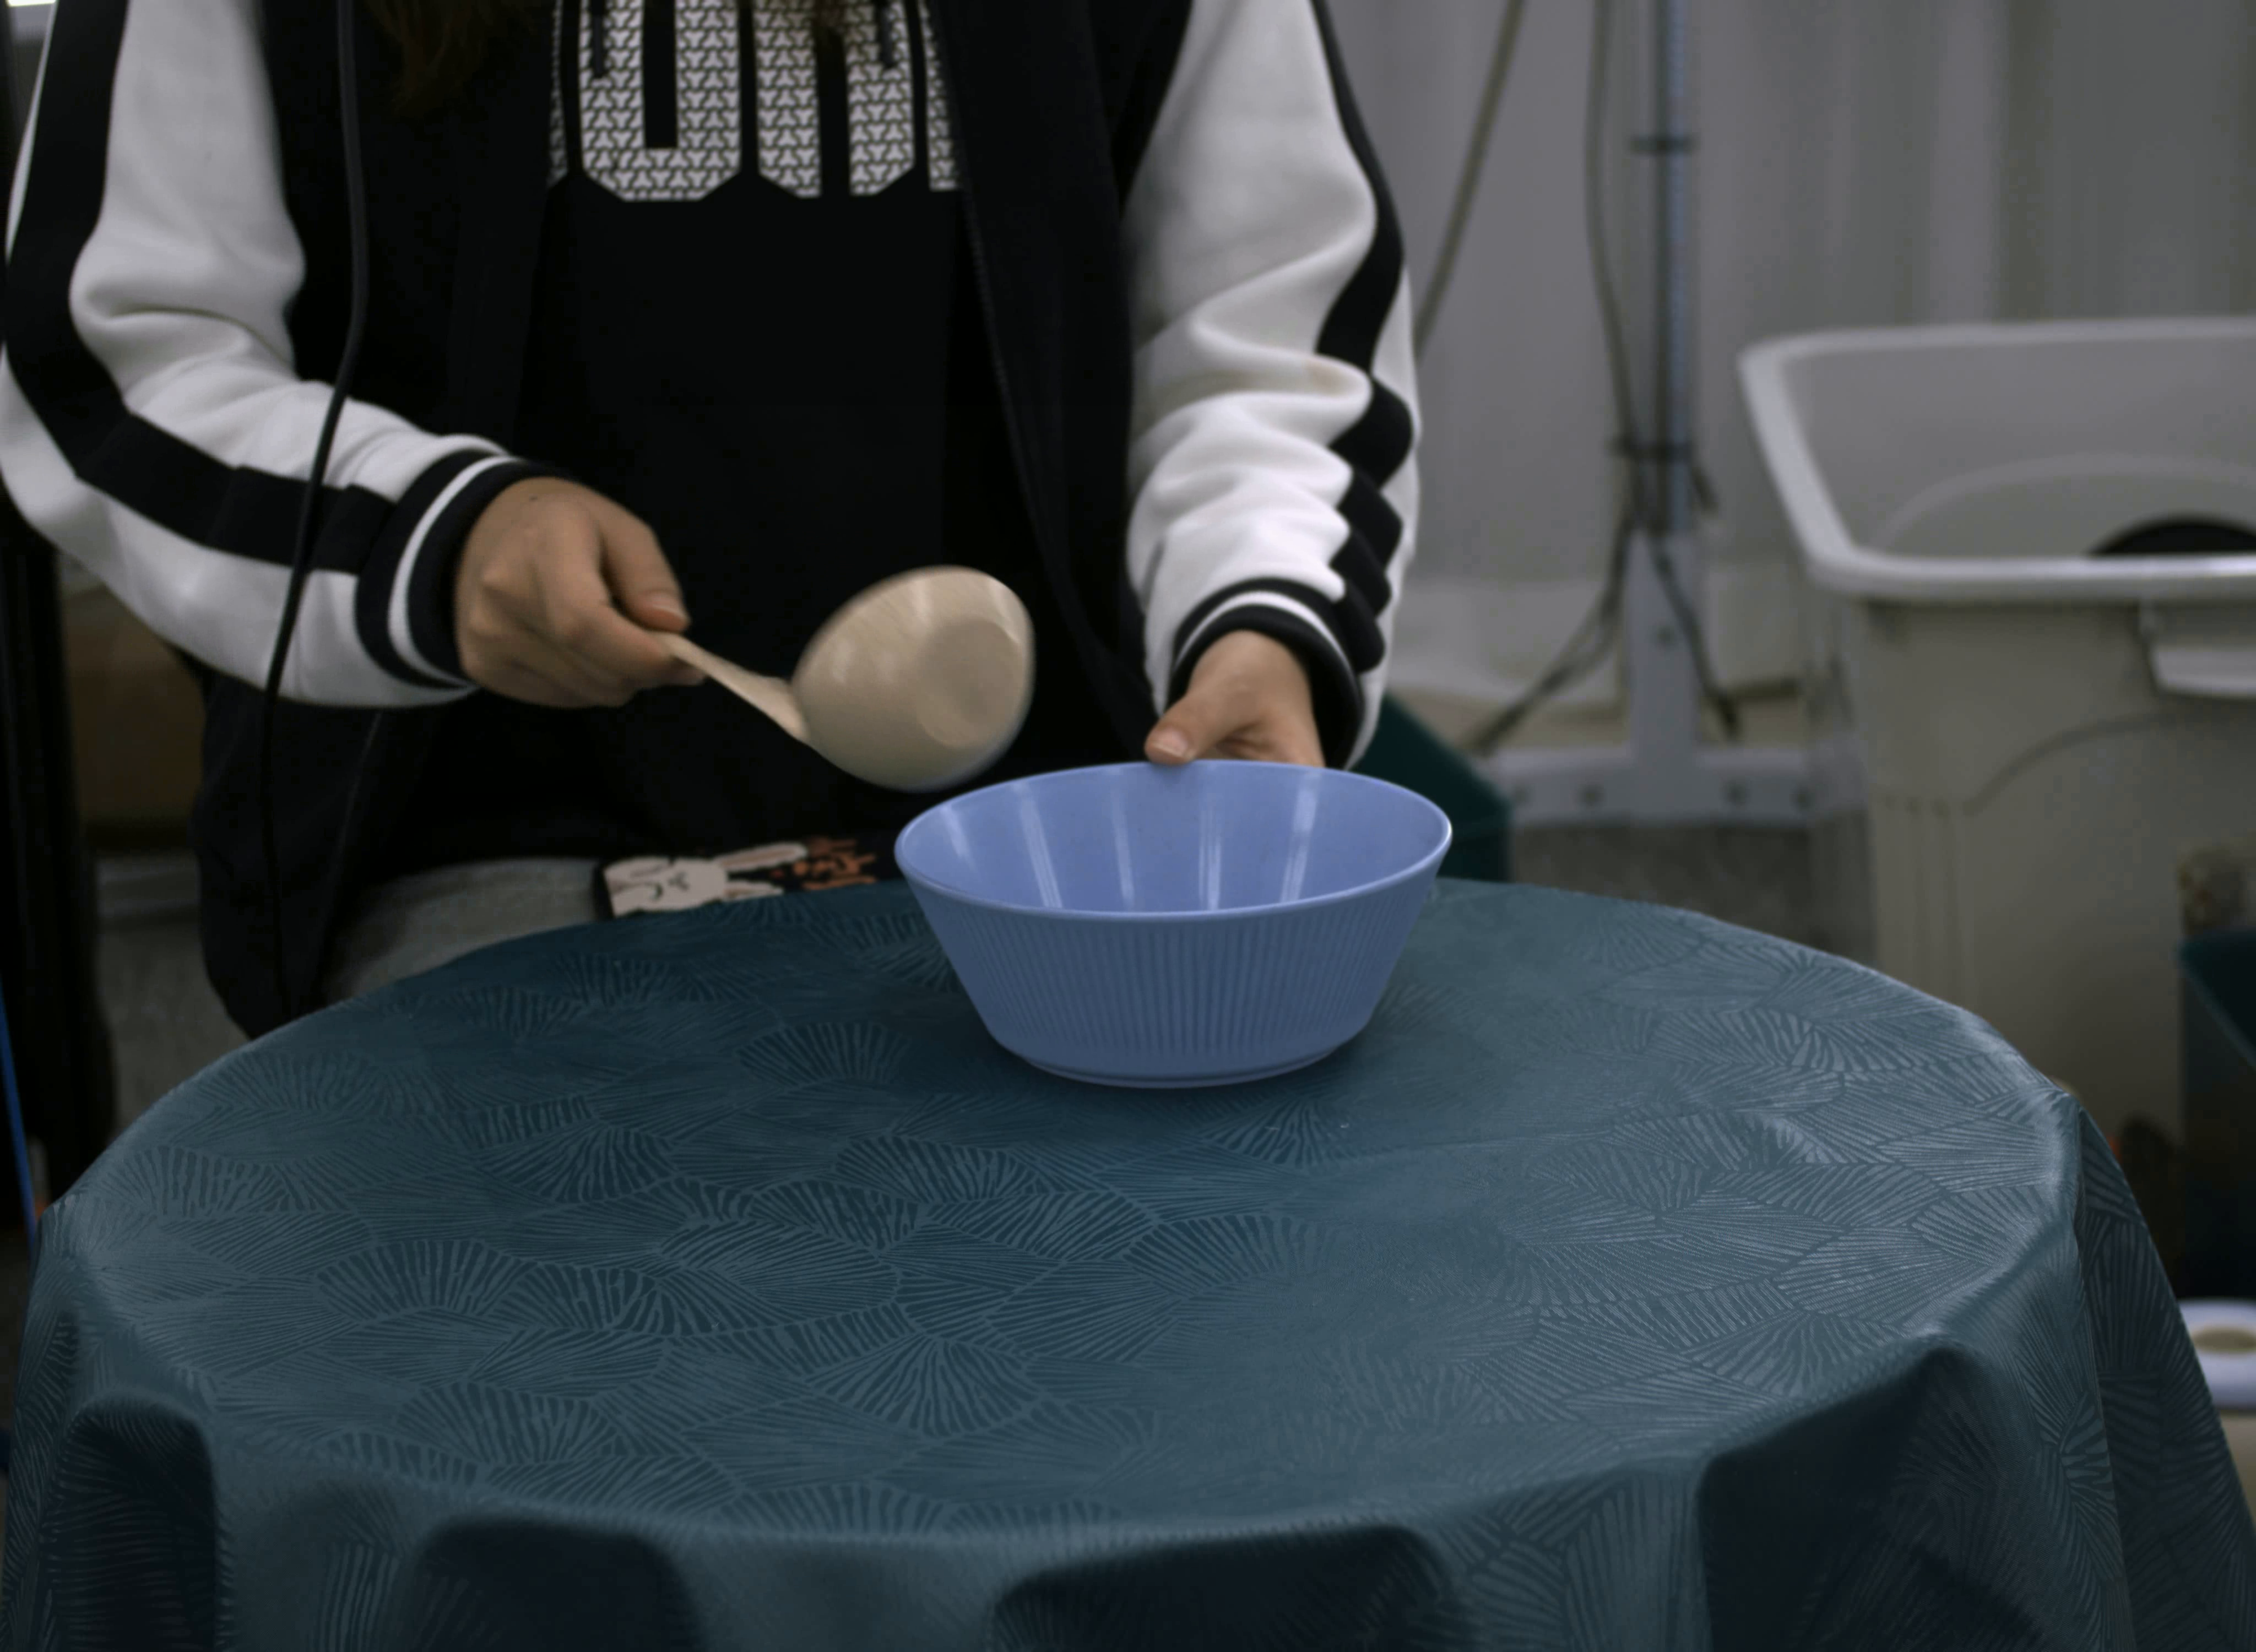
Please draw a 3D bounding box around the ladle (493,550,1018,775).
[{"bbox_3d":[-0.123,-0.075,1.687,0.070,0.073,0.260,21,1,-37],"label":"ladle"}]

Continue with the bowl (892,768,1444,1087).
[{"bbox_3d":[0.013,0.034,1.688,0.175,0.070,0.177,-2,15,-1],"label":"bowl"}]
